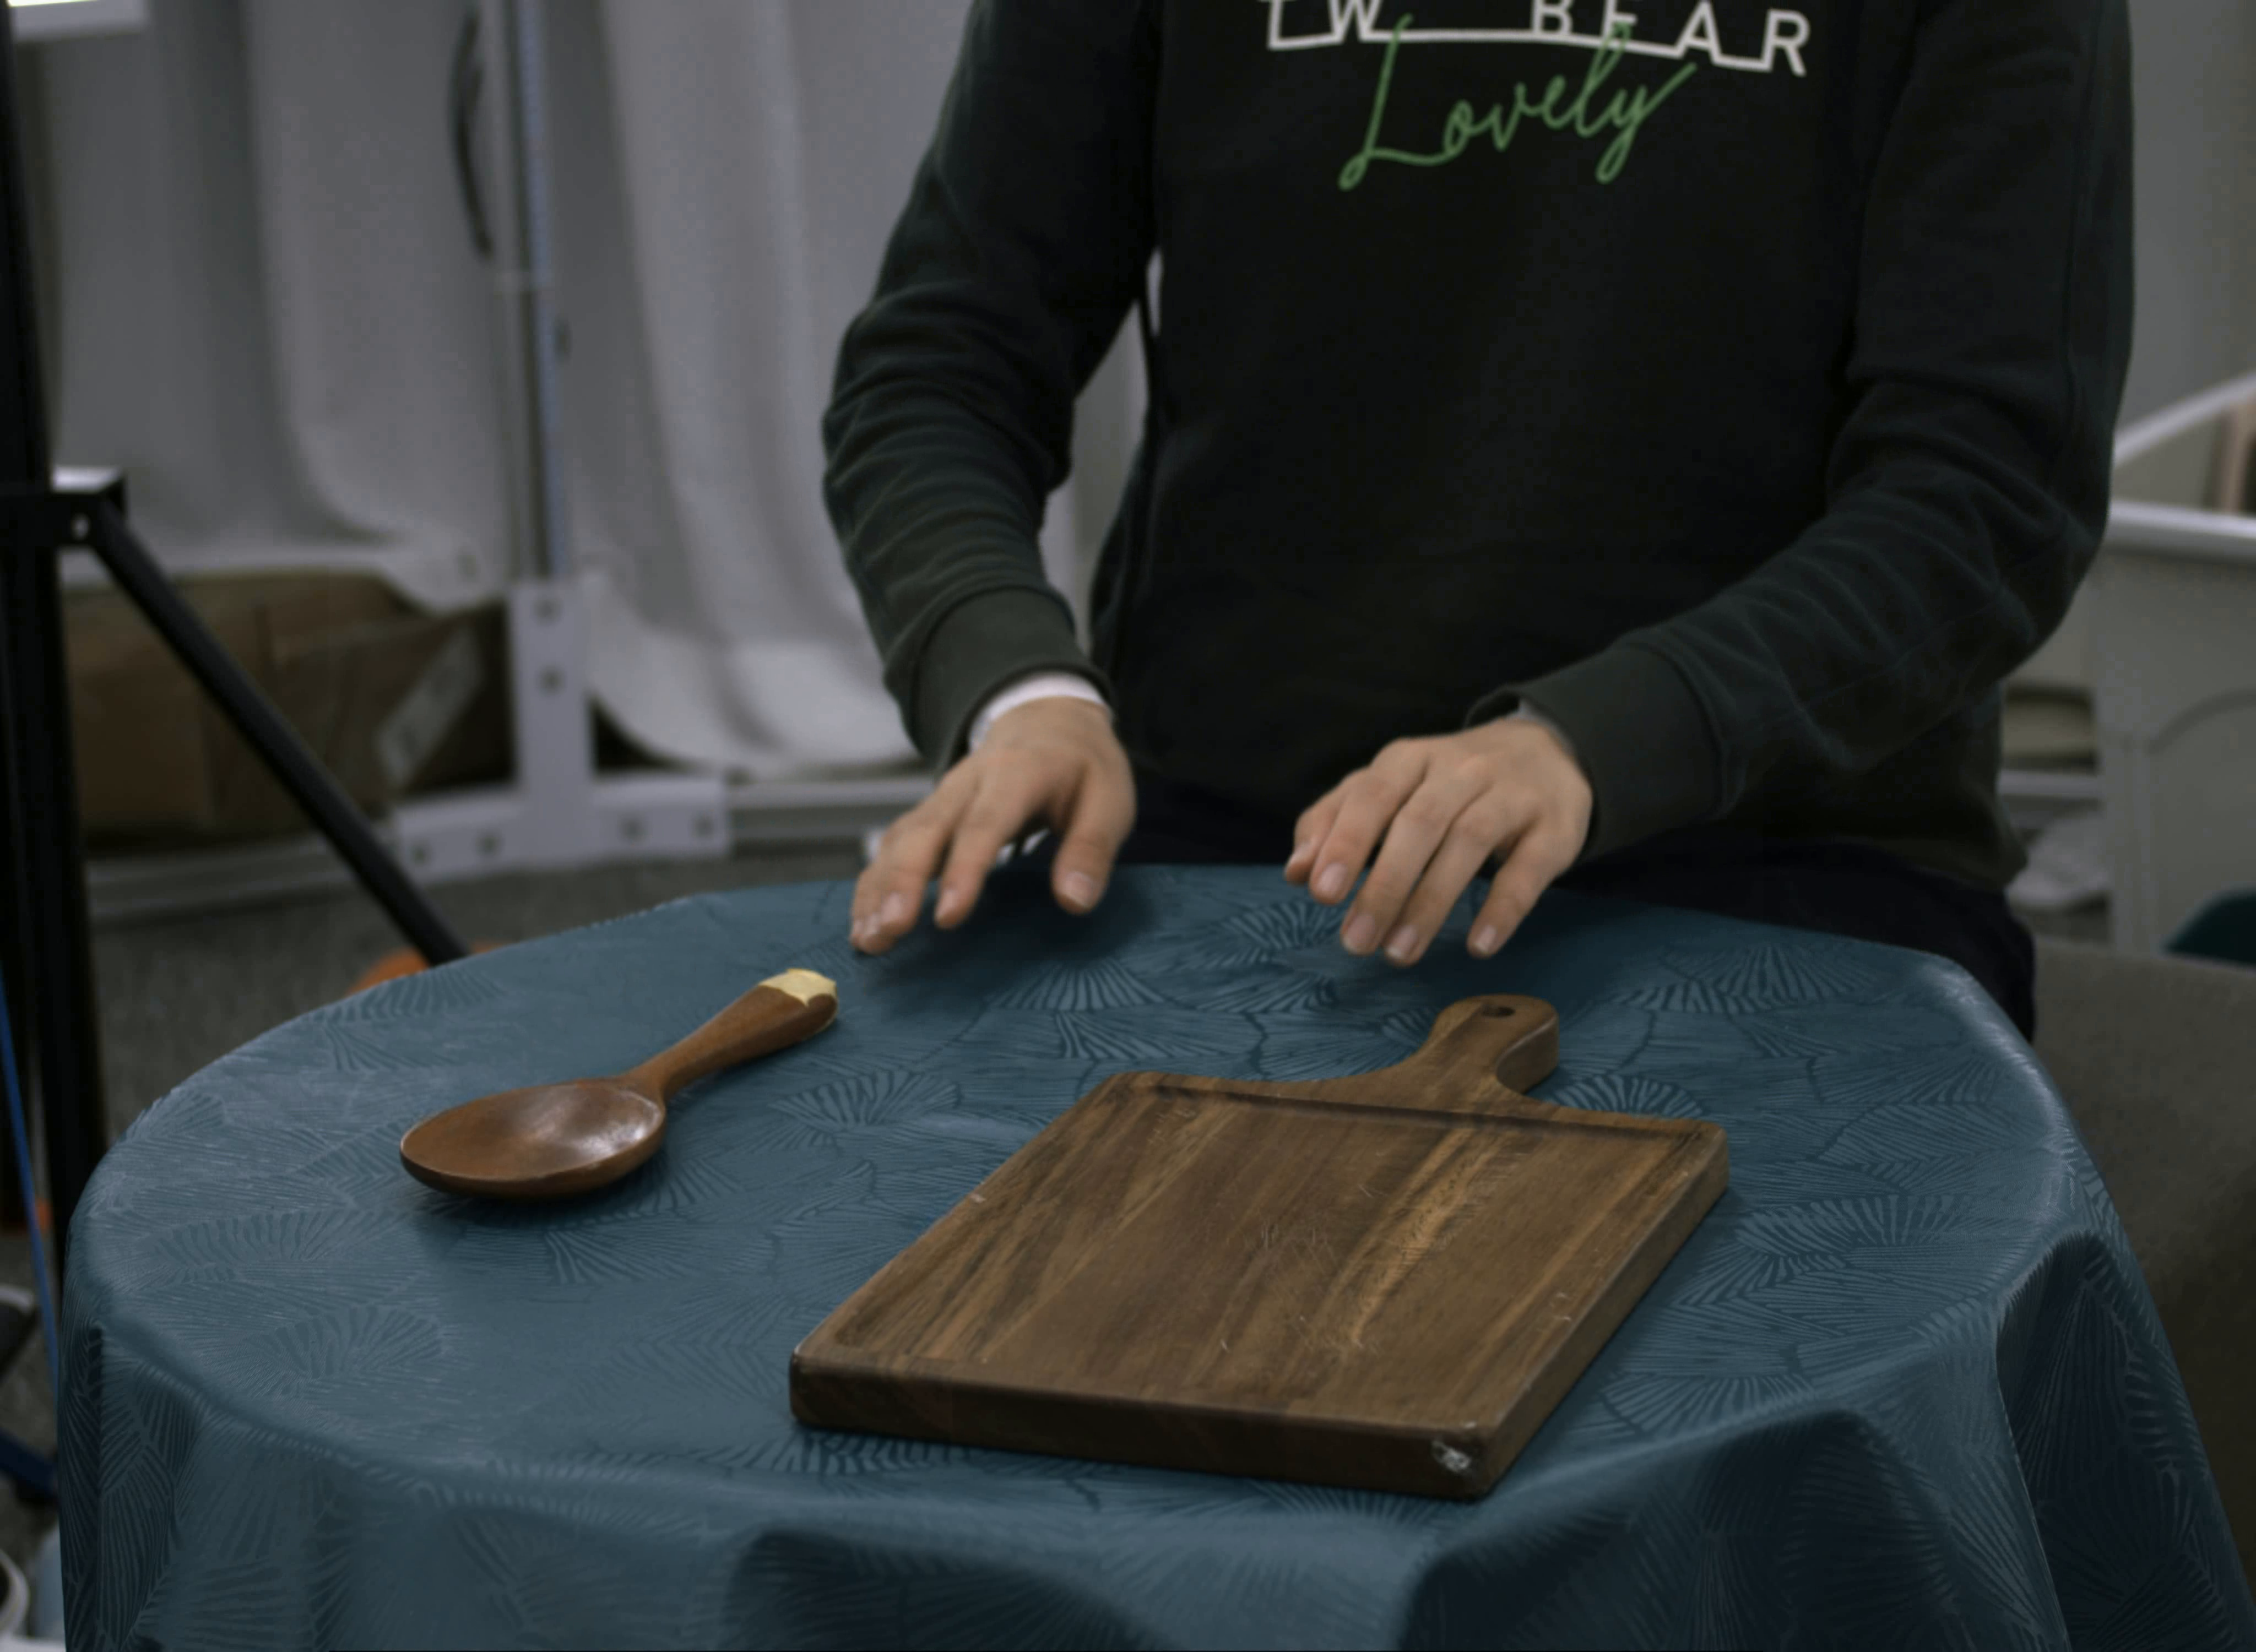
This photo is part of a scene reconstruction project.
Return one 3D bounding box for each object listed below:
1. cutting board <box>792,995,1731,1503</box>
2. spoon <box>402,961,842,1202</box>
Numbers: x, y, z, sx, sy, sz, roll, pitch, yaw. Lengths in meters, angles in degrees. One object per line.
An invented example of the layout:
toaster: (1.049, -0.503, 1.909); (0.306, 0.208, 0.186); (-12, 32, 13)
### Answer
cutting board: (0.061, 0.110, 1.508); (0.203, 0.023, 0.348); (3, 17, 21)
spoon: (-0.147, 0.080, 1.648); (0.077, 0.017, 0.212); (4, 18, 27)
